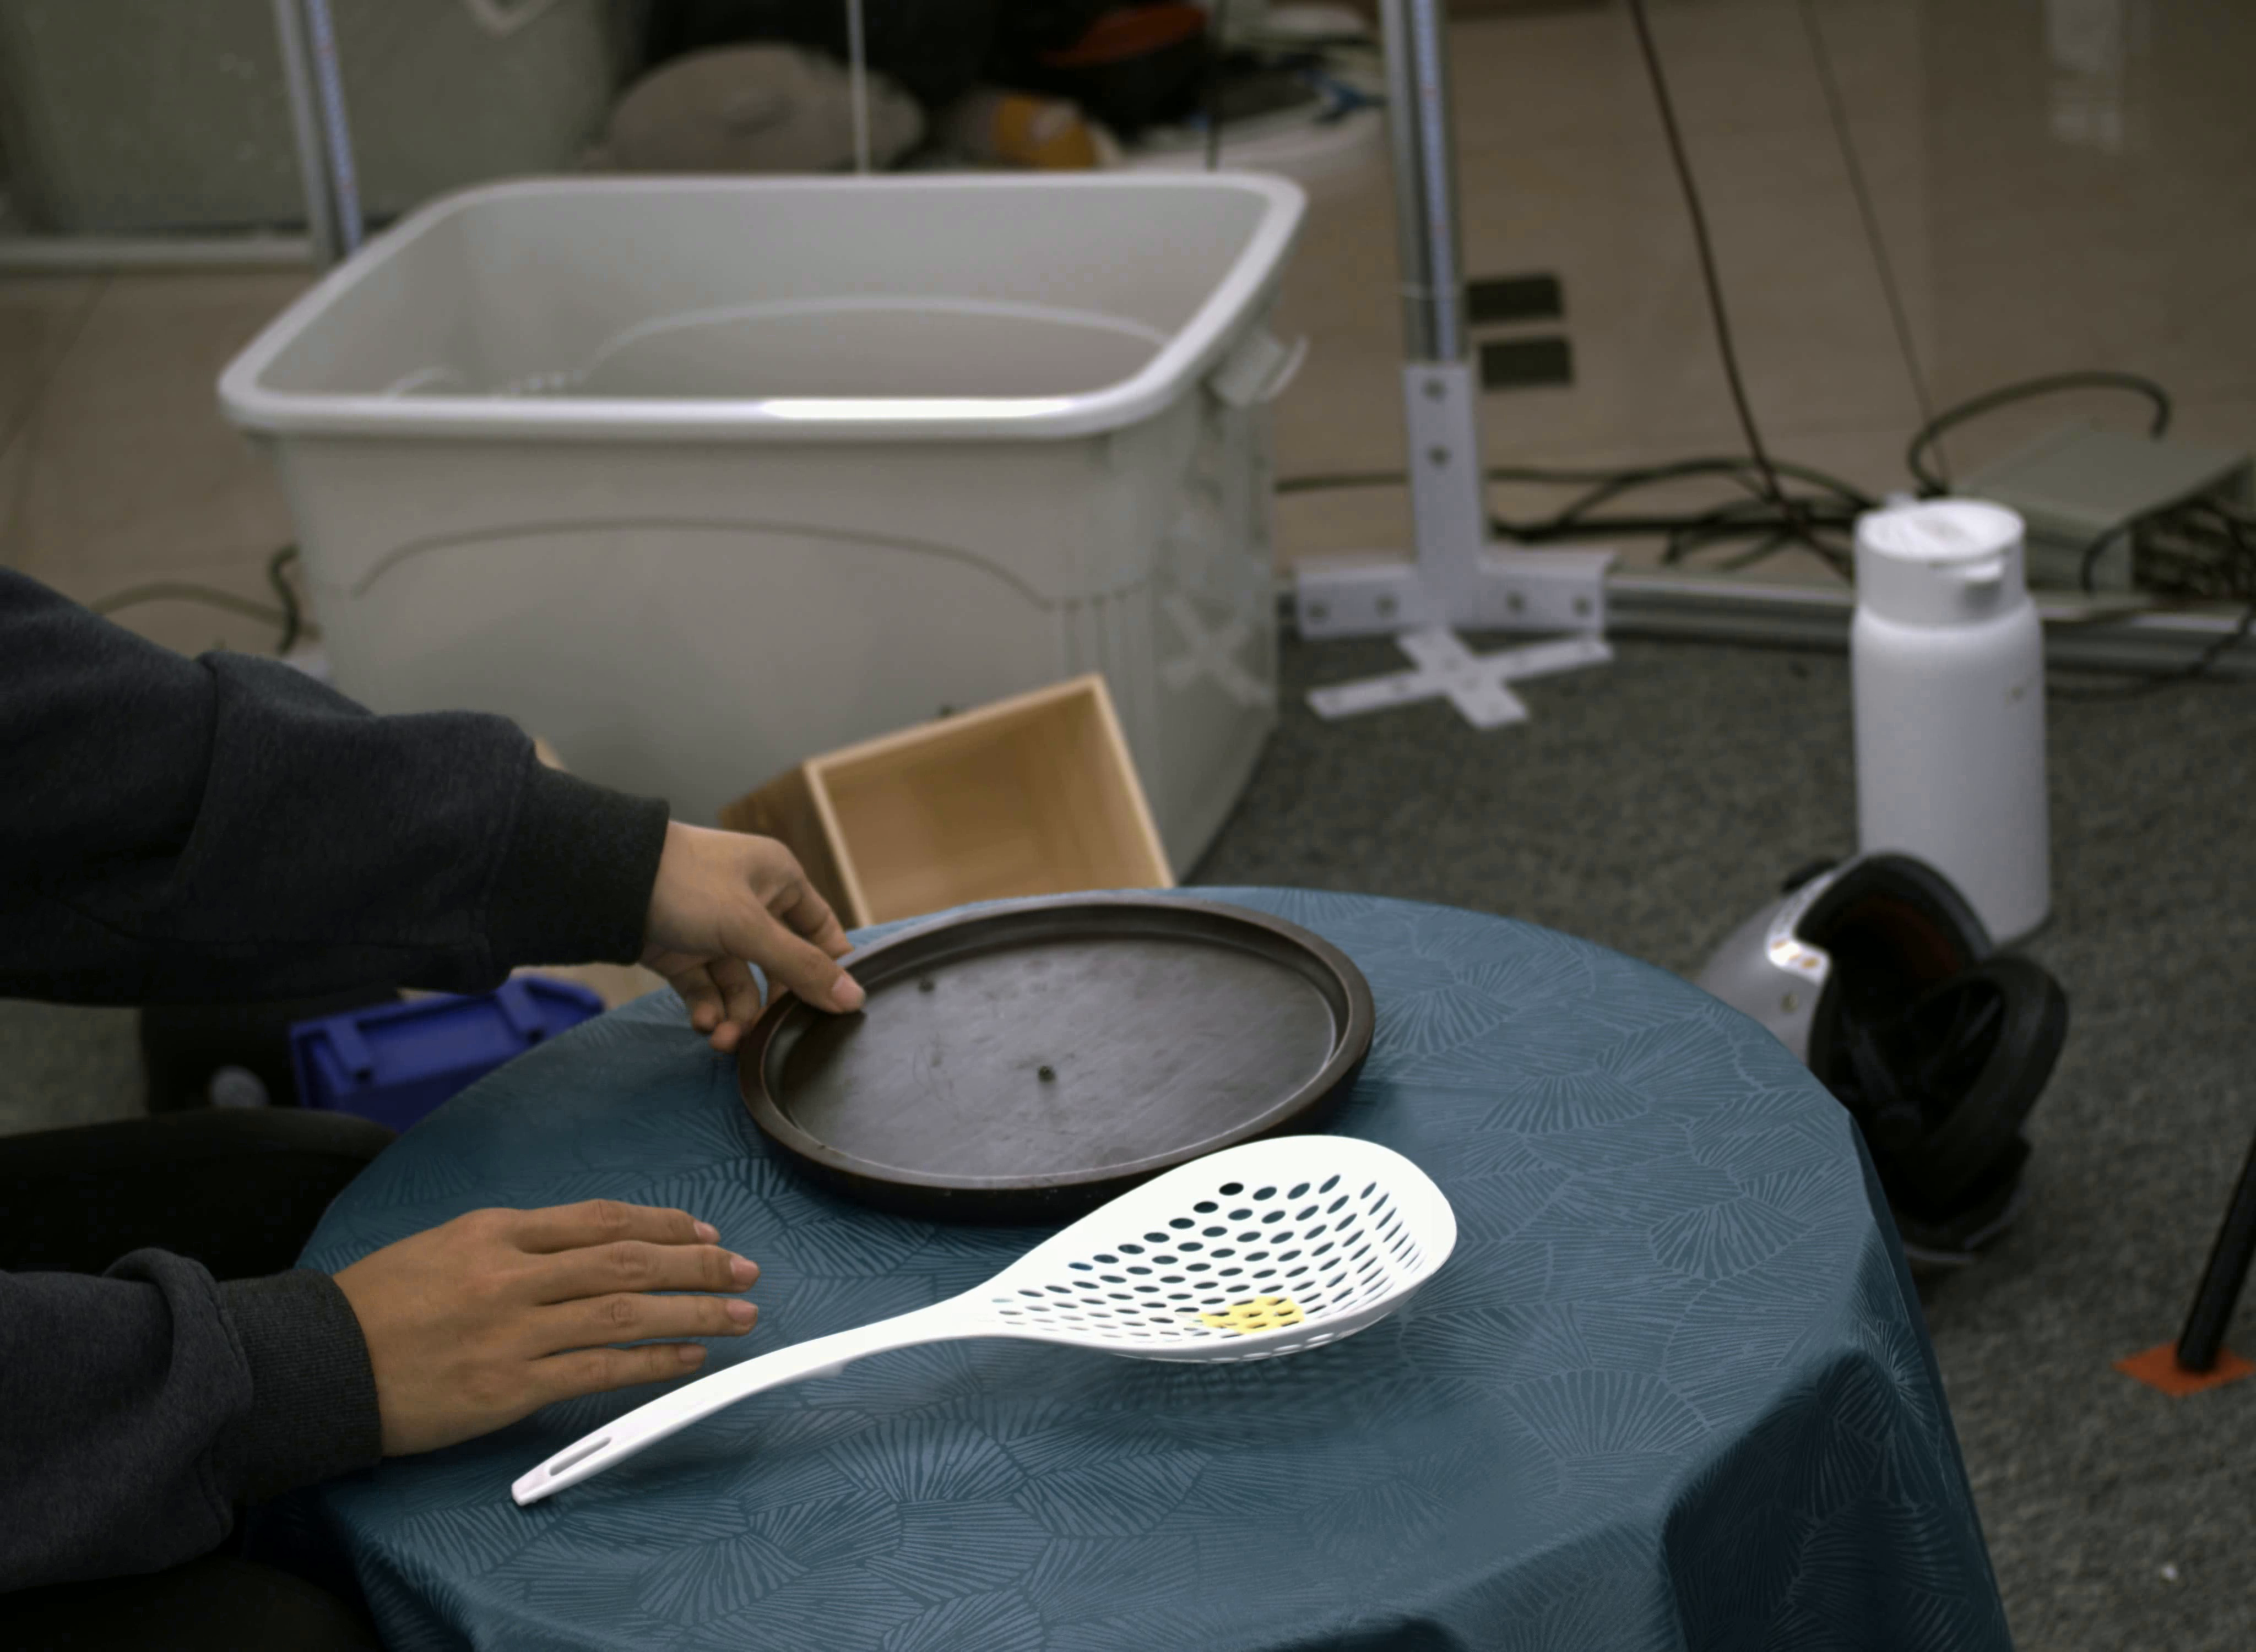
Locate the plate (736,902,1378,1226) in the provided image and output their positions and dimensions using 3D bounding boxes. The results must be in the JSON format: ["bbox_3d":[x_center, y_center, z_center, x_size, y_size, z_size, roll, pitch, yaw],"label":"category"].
[{"bbox_3d":[-0.028,0.091,2.228,0.254,0.029,0.251,-5,26,3],"label":"plate"}]

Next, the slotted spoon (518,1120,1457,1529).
[{"bbox_3d":[-0.051,0.183,2.015,0.347,0.051,0.135,-12,28,-12],"label":"slotted spoon"}]
